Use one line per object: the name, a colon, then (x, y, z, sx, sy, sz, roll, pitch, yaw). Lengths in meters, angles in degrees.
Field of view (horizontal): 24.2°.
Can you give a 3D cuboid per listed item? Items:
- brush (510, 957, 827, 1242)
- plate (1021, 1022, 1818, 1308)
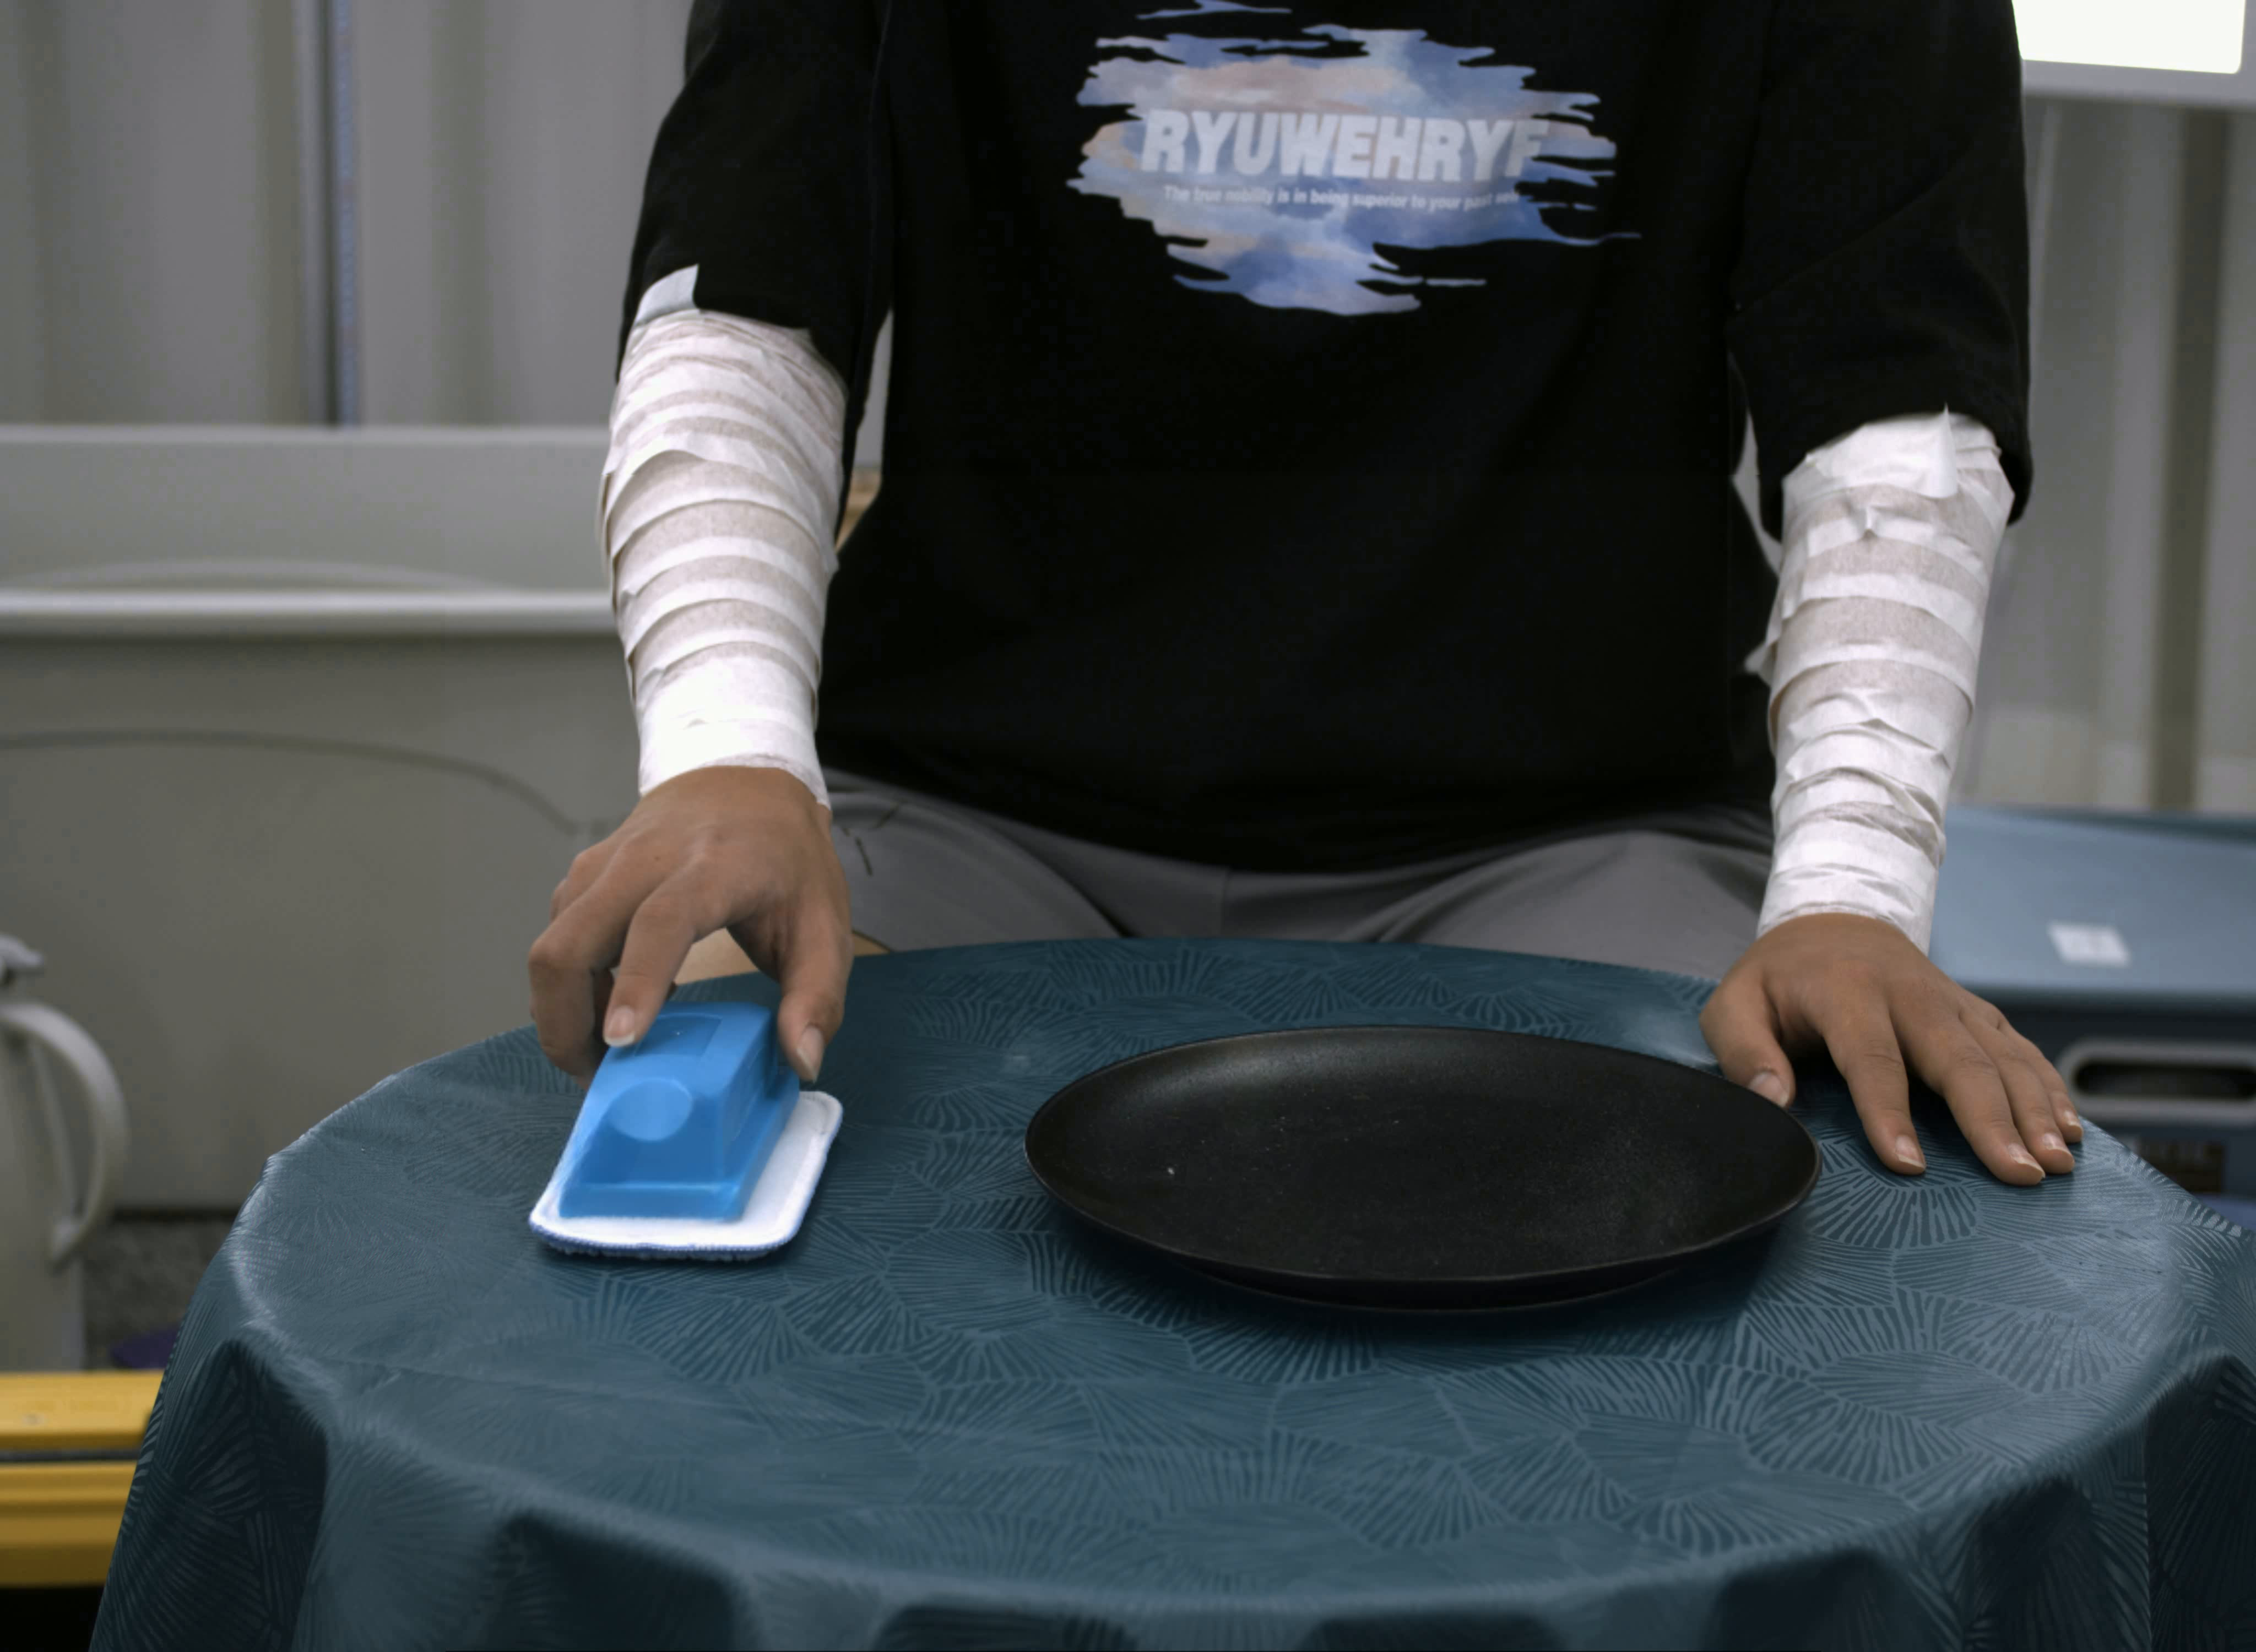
brush: (-0.139, 0.080, 1.616, 0.083, 0.056, 0.143, 5, 19, 3)
plate: (0.088, 0.106, 1.607, 0.243, 0.023, 0.243, 1, 15, 0)
